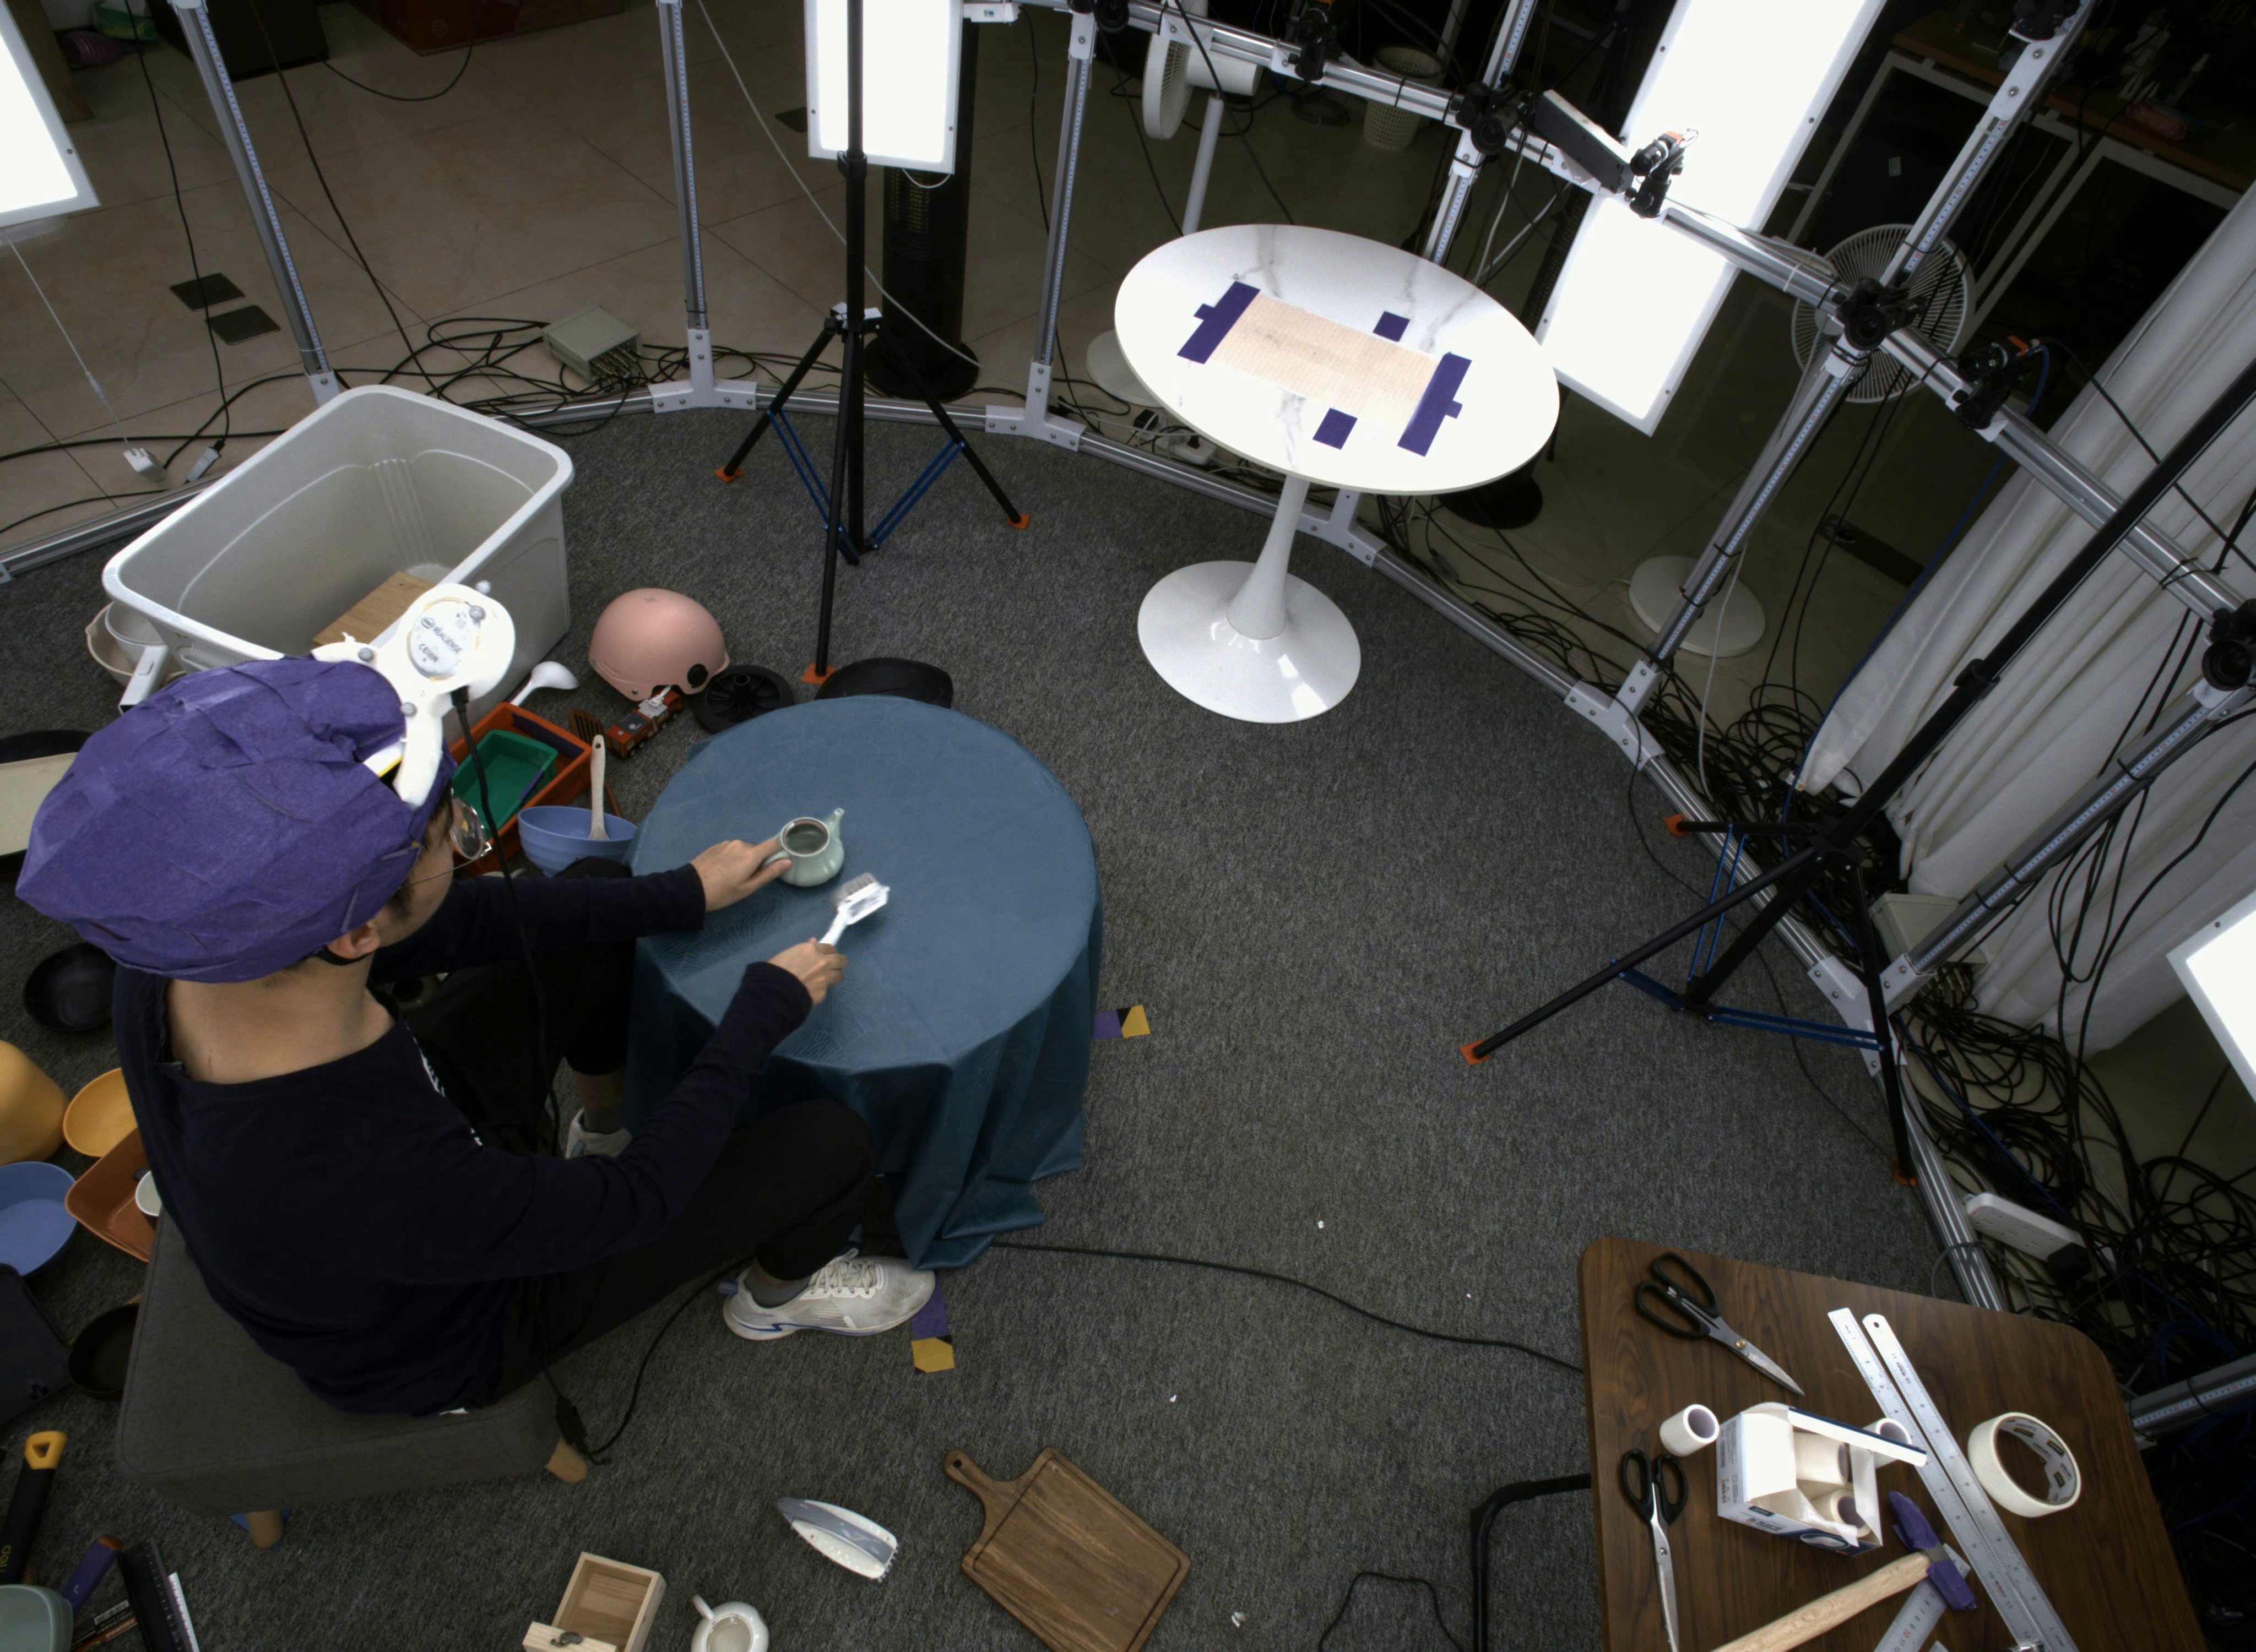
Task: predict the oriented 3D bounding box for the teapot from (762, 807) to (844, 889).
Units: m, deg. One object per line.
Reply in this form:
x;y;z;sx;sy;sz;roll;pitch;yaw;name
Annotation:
-0.418;0.032;1.665;0.094;0.062;0.137;38;54;13;teapot

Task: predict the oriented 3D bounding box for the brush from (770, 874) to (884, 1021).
-0.373;0.140;1.564;0.049;0.035;0.242;17;42;17;brush
